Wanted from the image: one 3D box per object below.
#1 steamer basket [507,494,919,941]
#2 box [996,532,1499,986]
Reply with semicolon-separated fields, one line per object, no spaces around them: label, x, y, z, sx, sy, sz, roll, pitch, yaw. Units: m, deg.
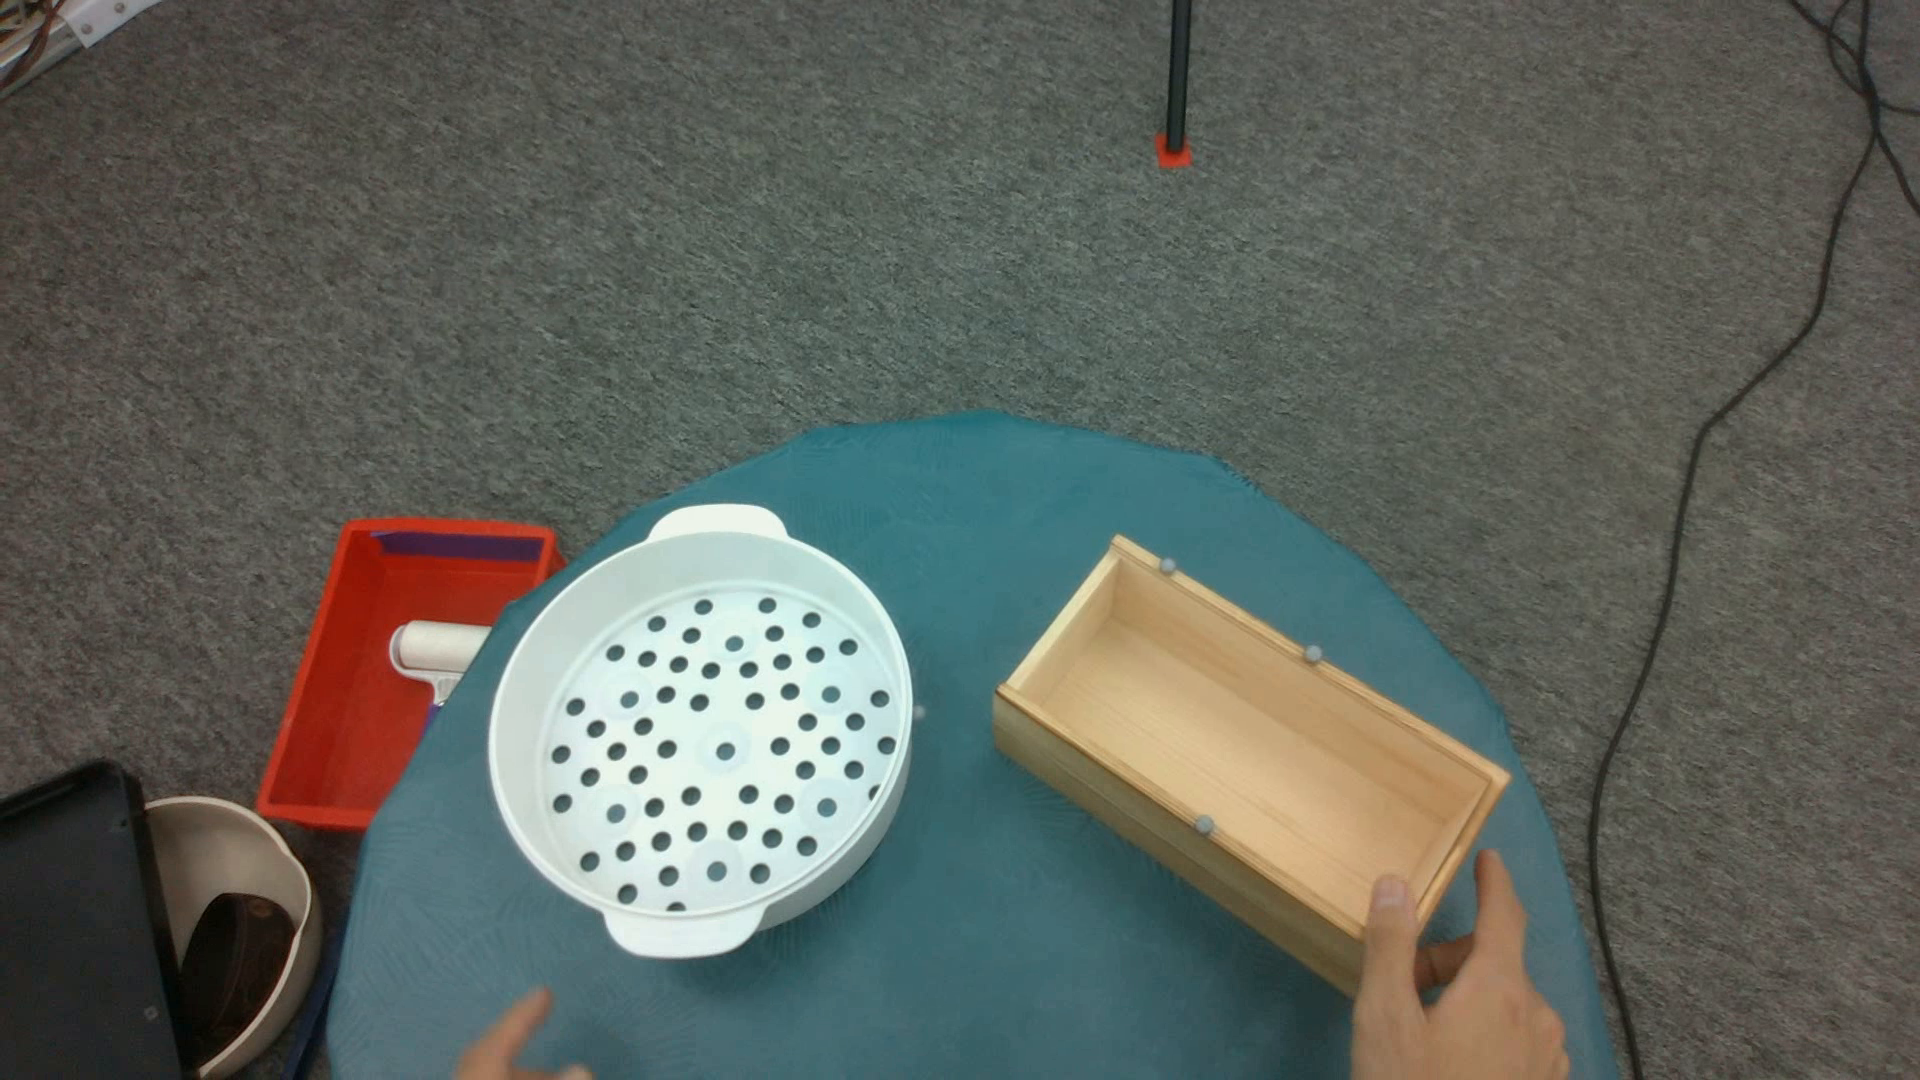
steamer basket;-0.121;0.091;0.700;0.202;0.069;0.231;-1;63;2
box;0.134;0.105;0.676;0.211;0.080;0.108;33;68;18
